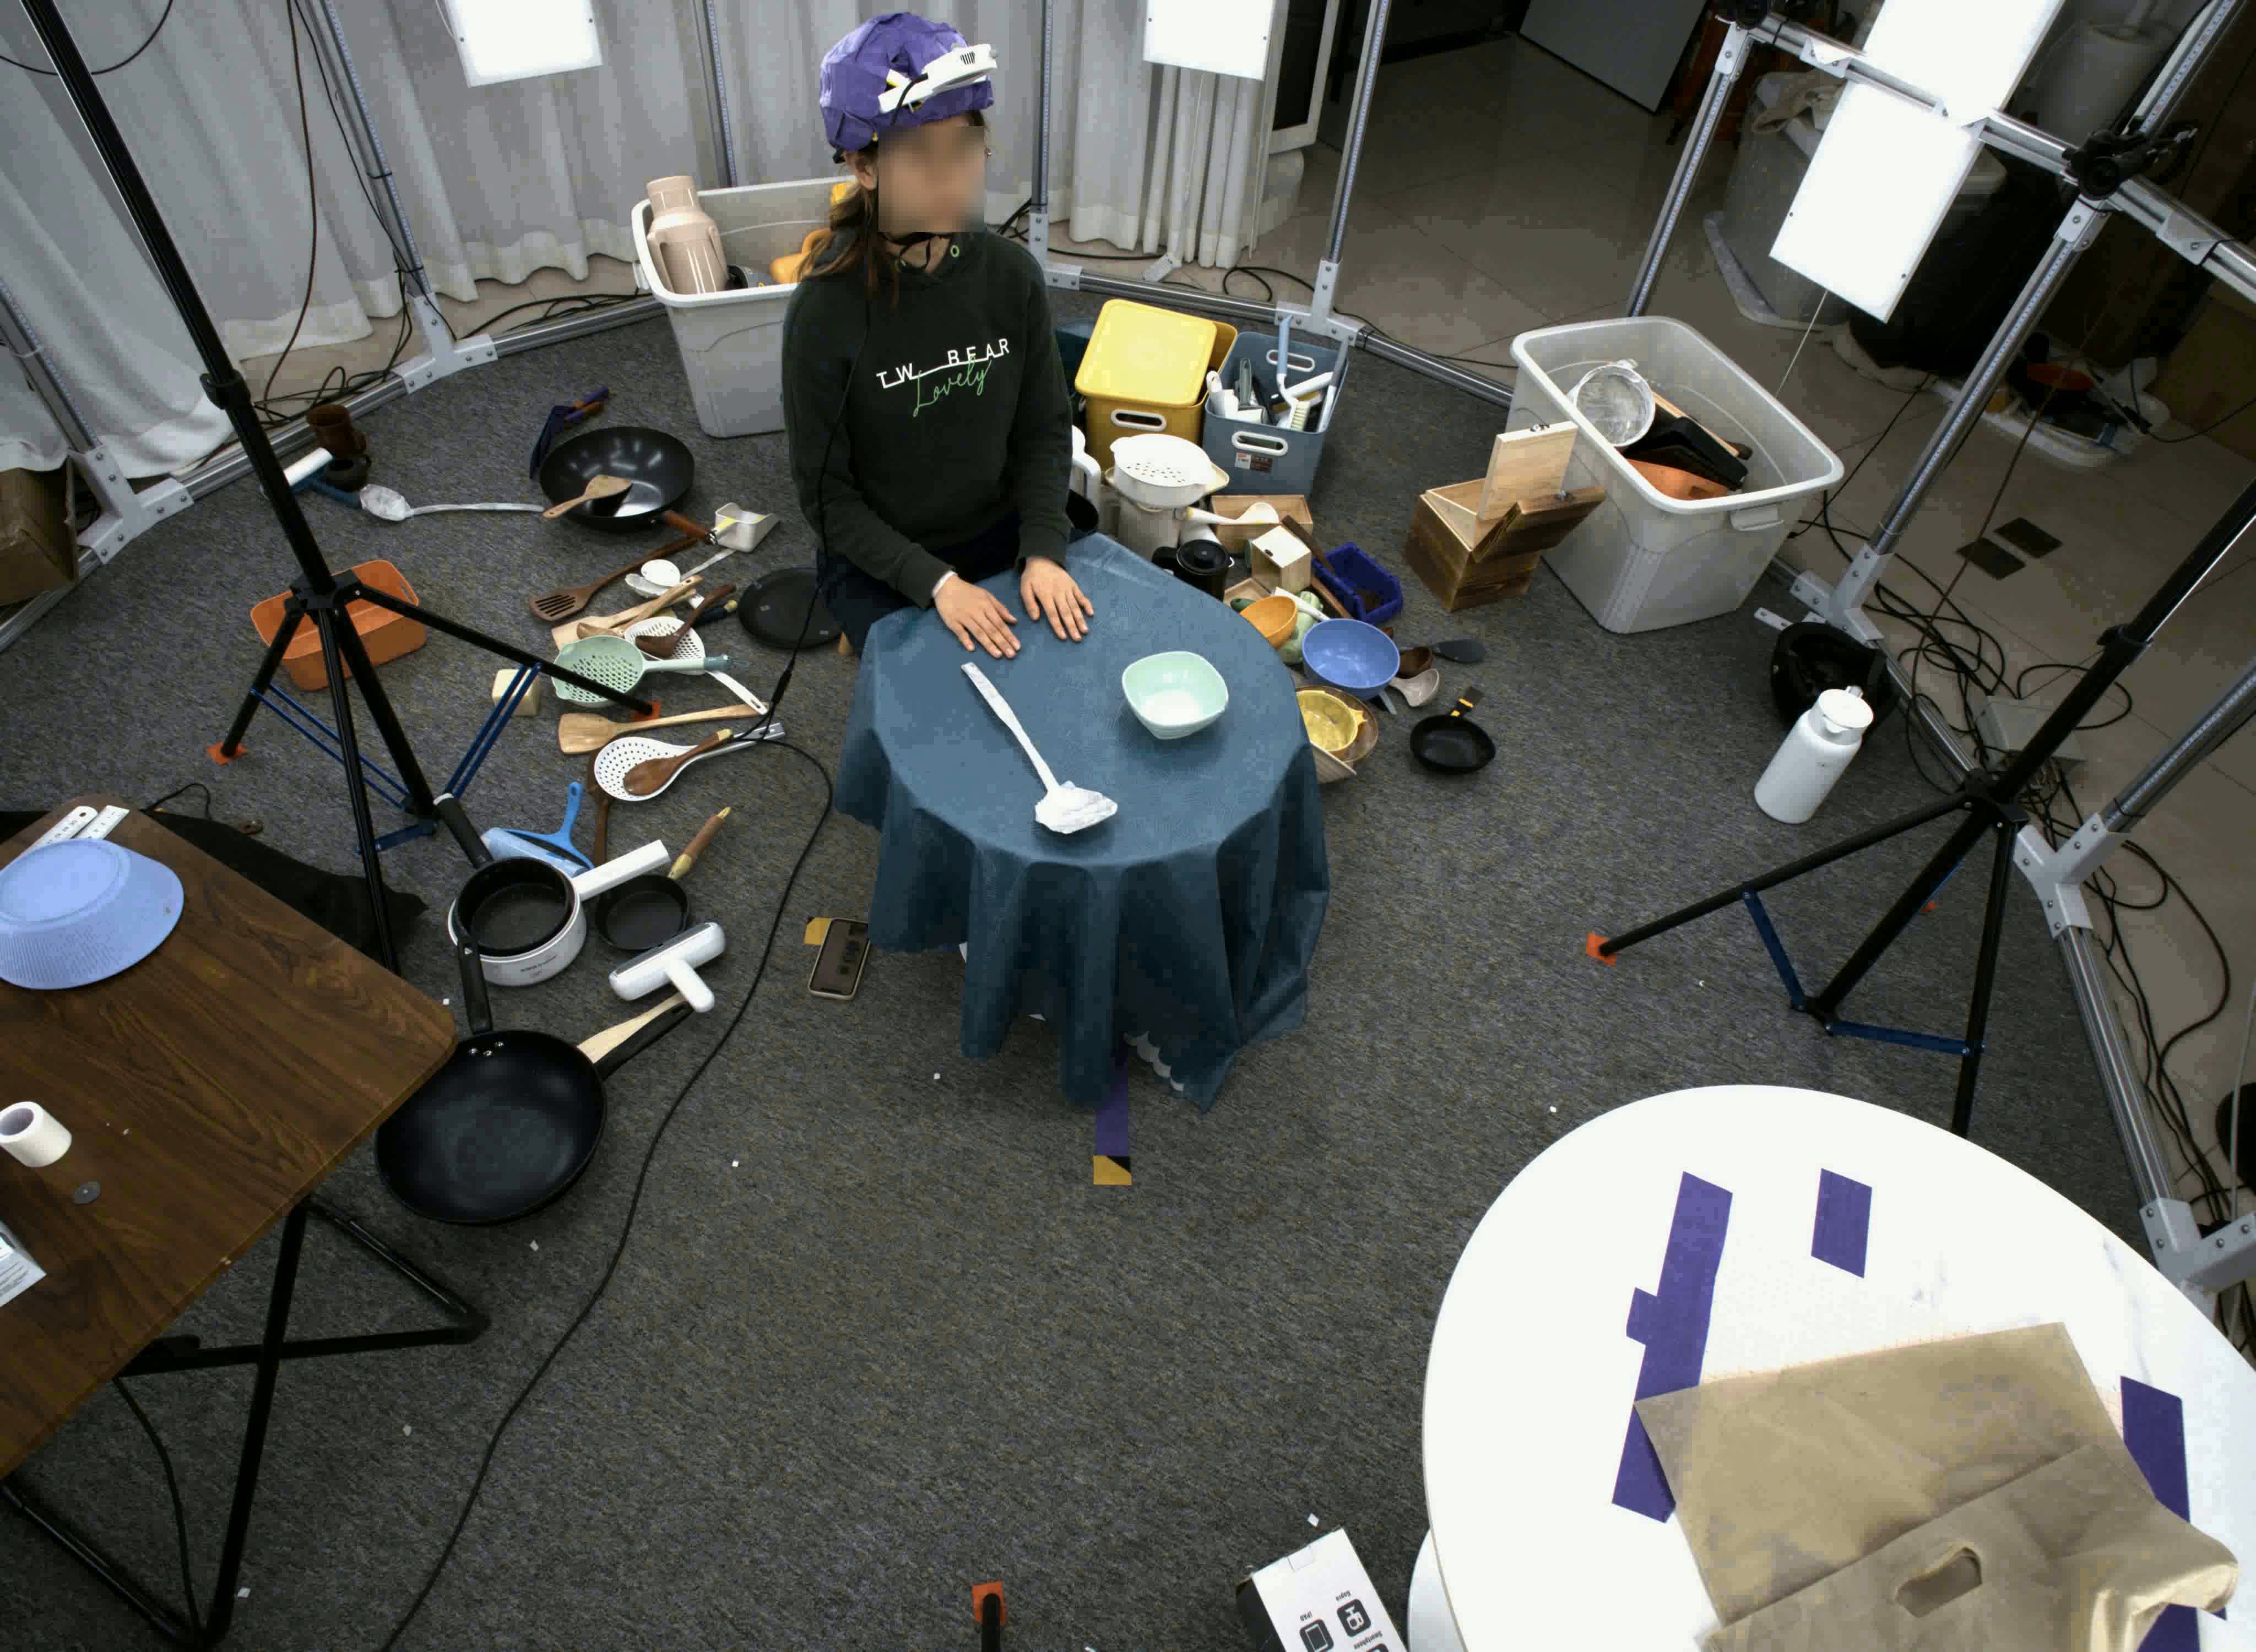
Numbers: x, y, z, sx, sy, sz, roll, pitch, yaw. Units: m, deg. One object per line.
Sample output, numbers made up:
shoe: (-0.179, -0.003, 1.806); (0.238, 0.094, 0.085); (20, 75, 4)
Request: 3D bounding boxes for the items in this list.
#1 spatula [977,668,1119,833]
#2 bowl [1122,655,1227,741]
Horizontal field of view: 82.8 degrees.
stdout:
spatula: (-0.132, -0.114, 1.749); (0.099, 0.043, 0.373); (-21, 53, -18)
bowl: (0.062, -0.172, 1.803); (0.151, 0.057, 0.155); (3, 48, -3)
